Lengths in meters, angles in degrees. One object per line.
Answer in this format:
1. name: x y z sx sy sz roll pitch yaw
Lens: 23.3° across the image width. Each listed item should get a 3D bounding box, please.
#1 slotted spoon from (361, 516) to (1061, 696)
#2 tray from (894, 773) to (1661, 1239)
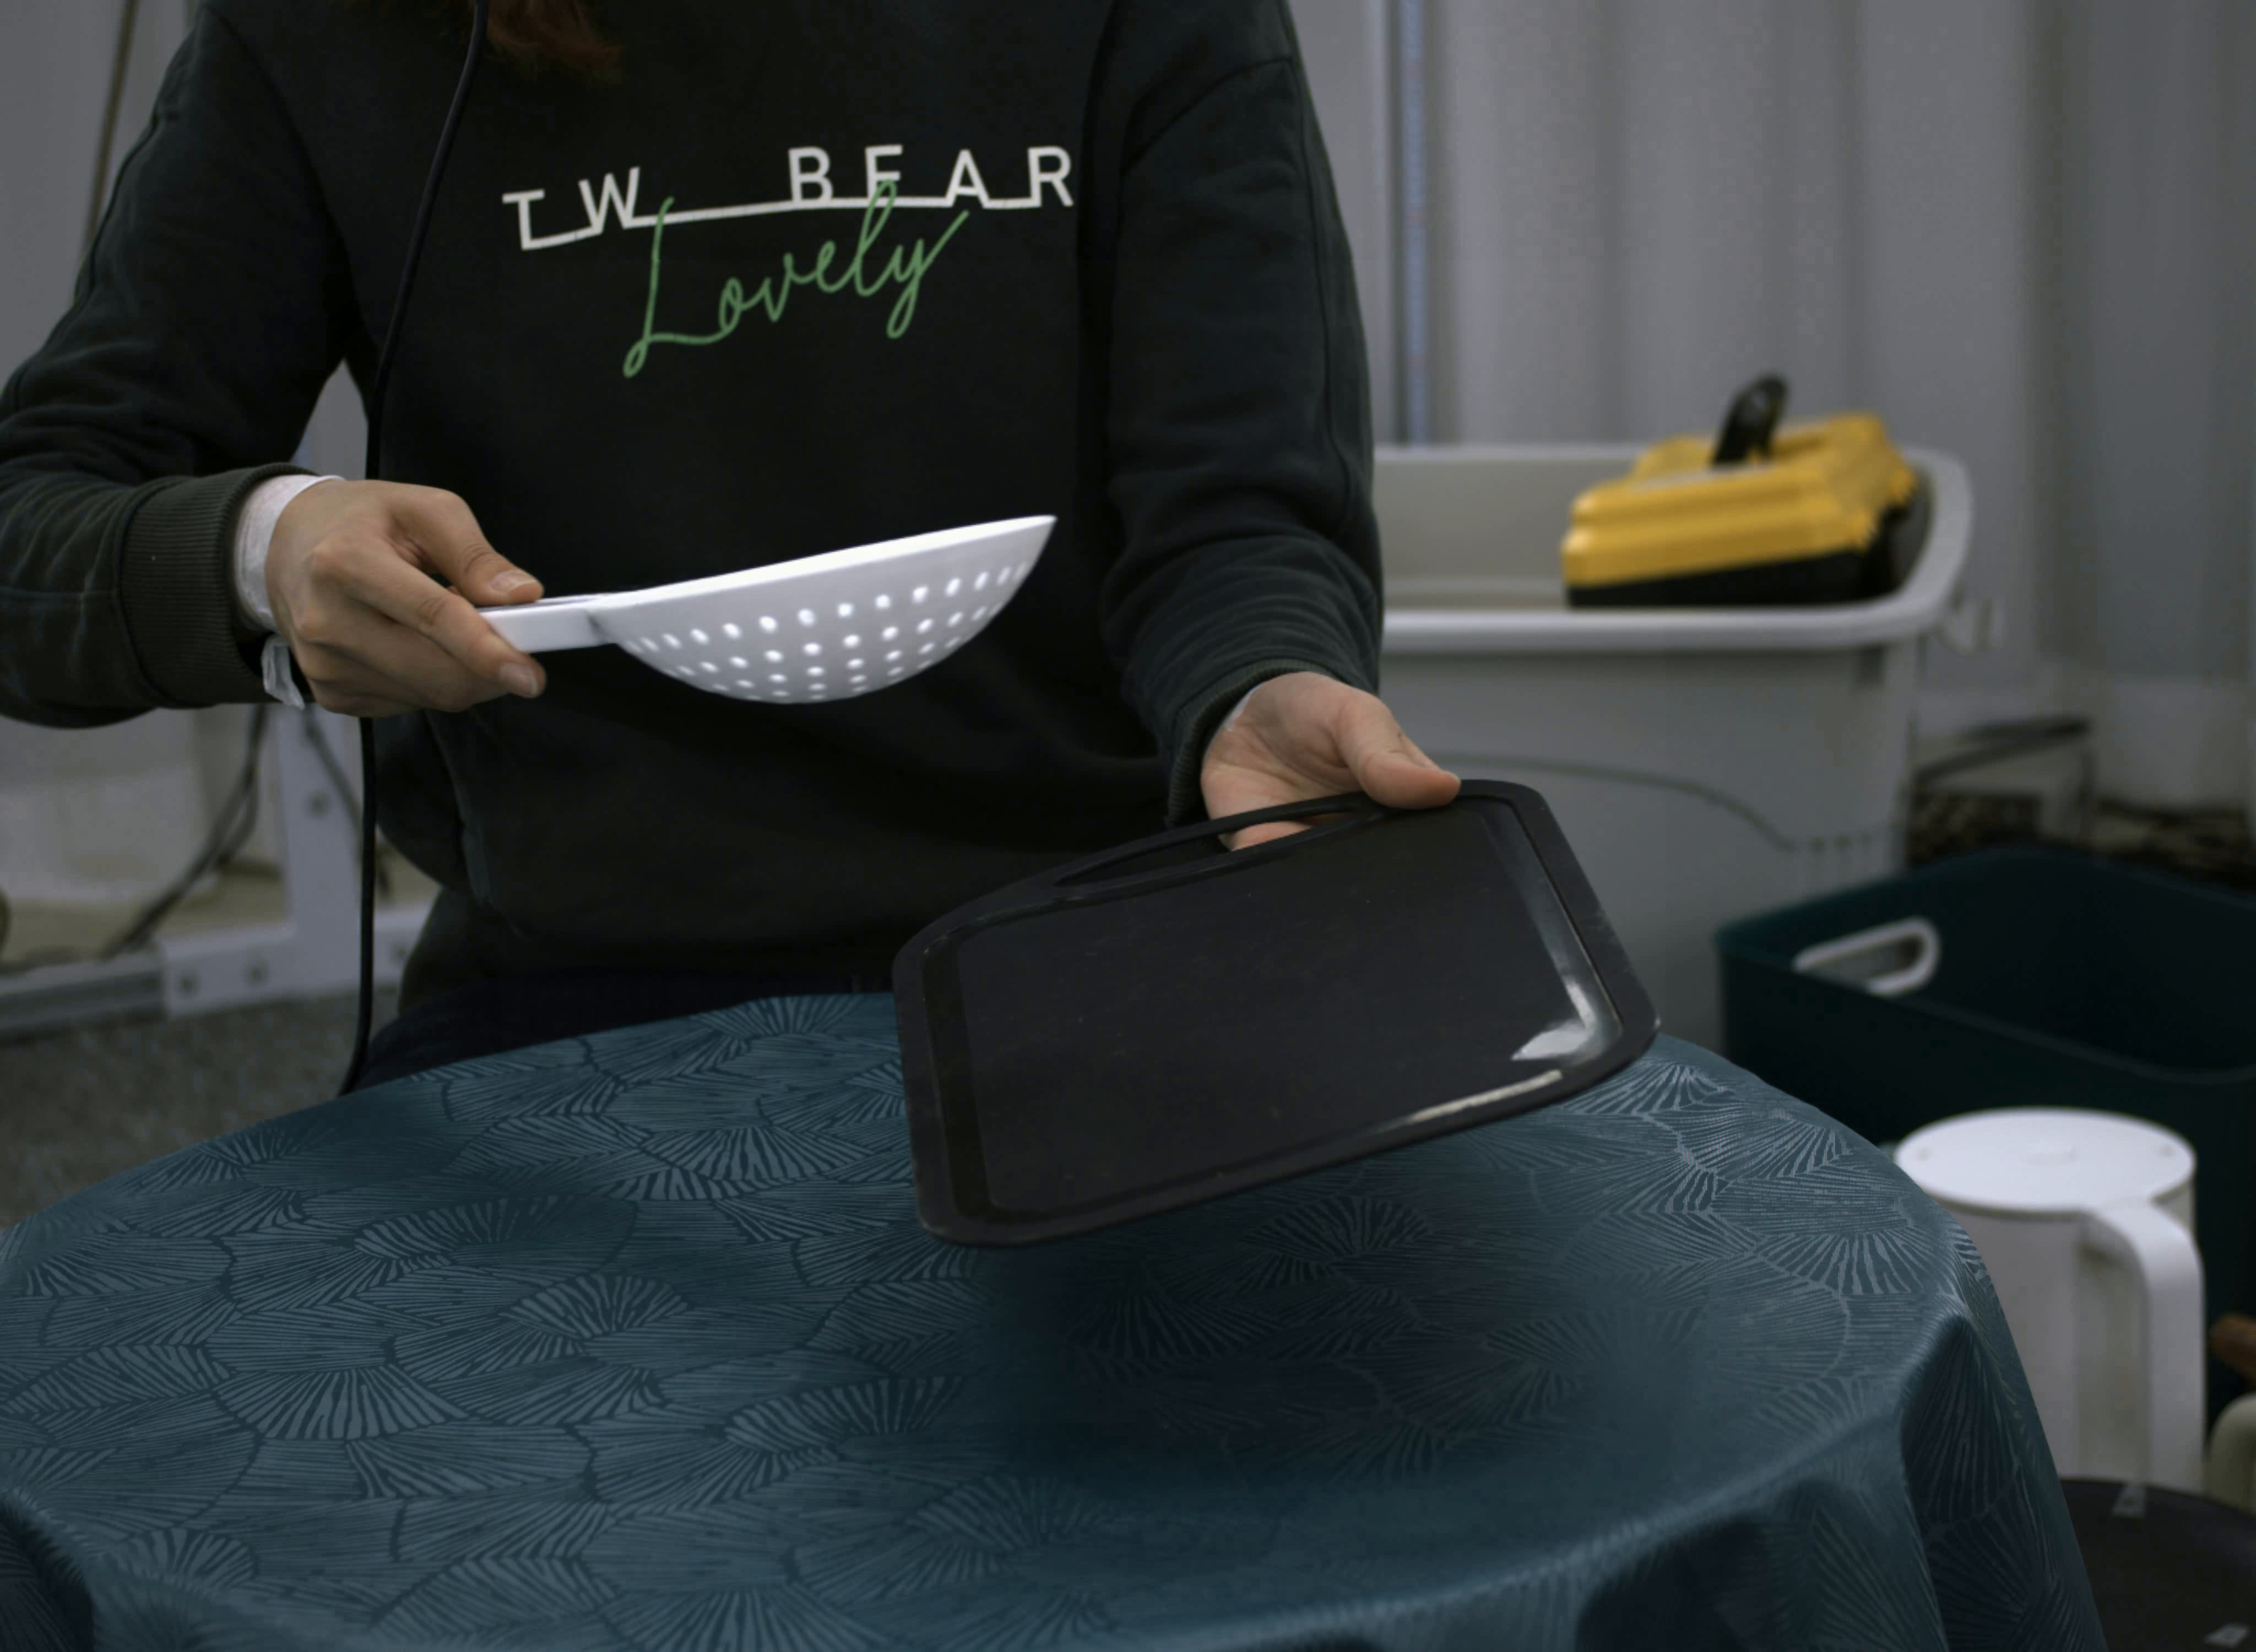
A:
1. slotted spoon: -0.145 -0.066 1.651 0.135 0.046 0.351 -12 10 -33
2. tray: 0.035 0.044 1.599 0.210 0.010 0.328 -15 17 0
